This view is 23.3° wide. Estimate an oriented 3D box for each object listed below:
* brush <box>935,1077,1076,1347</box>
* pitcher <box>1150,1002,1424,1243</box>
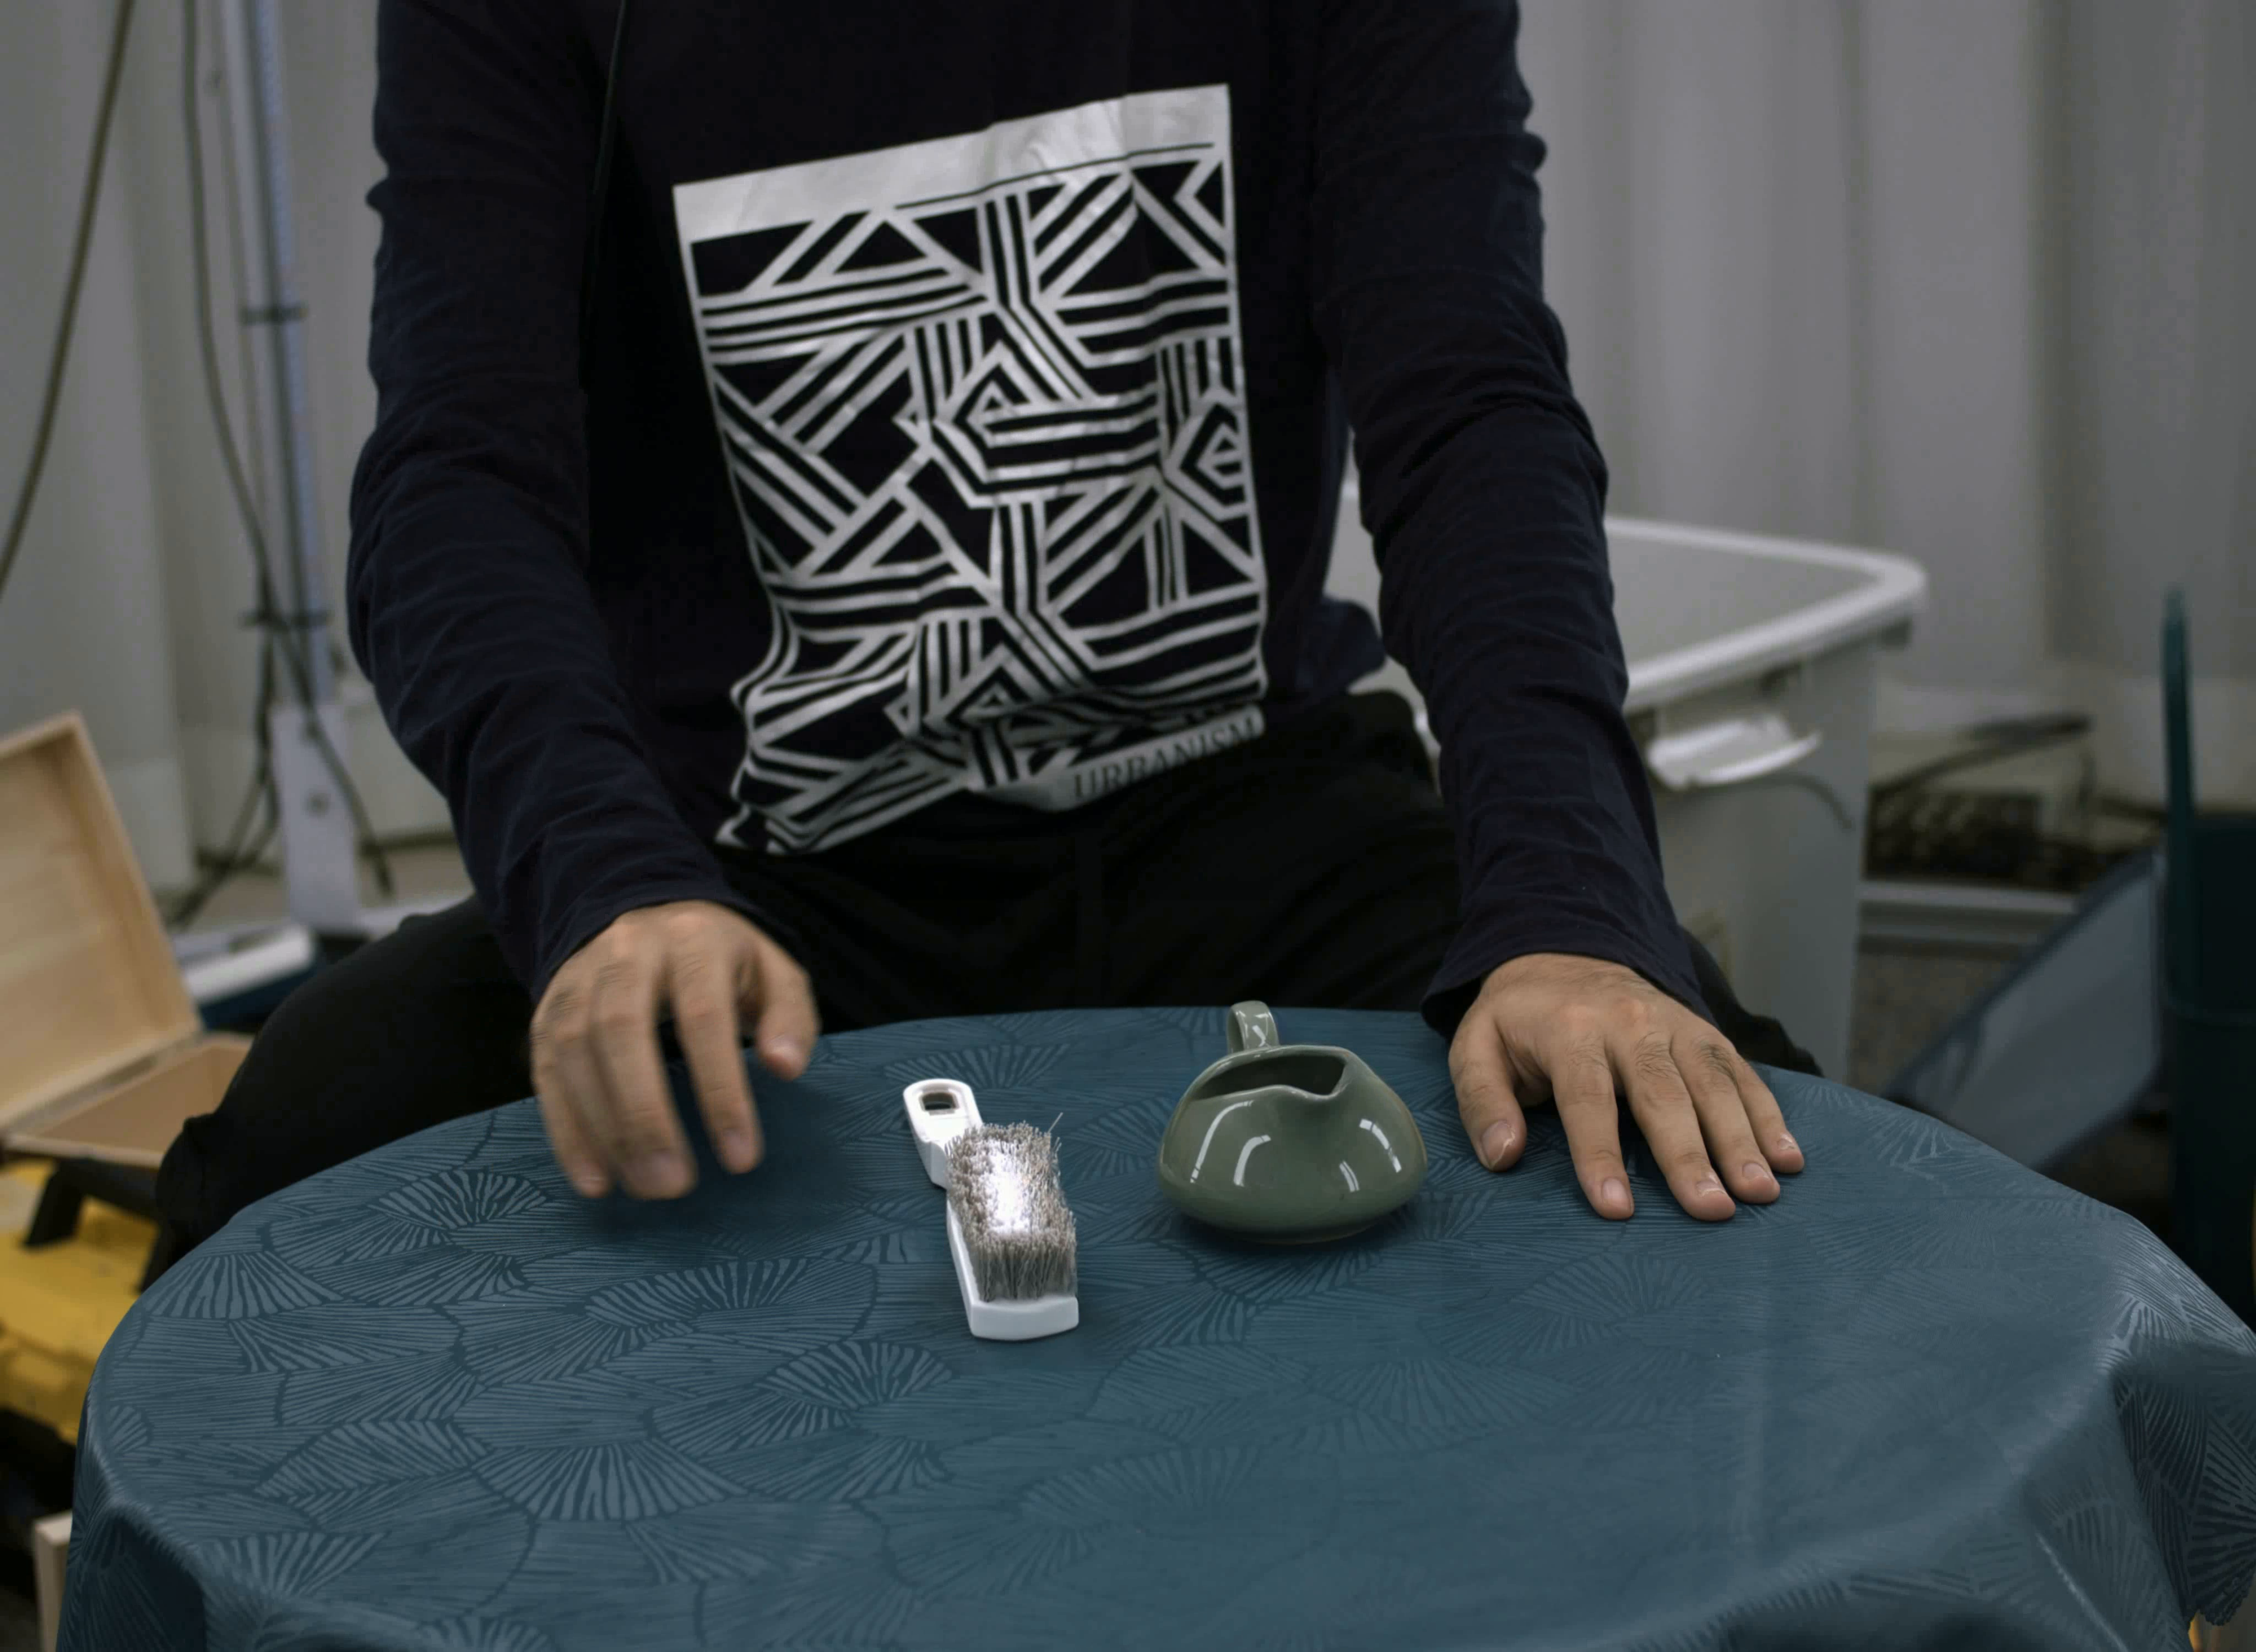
[{"bbox_3d":[-0.044,0.099,1.690,0.034,0.050,0.245,-9,15,-3],"label":"brush"},{"bbox_3d":[0.046,0.092,1.684,0.084,0.056,0.113,-6,14,-15],"label":"pitcher"}]
